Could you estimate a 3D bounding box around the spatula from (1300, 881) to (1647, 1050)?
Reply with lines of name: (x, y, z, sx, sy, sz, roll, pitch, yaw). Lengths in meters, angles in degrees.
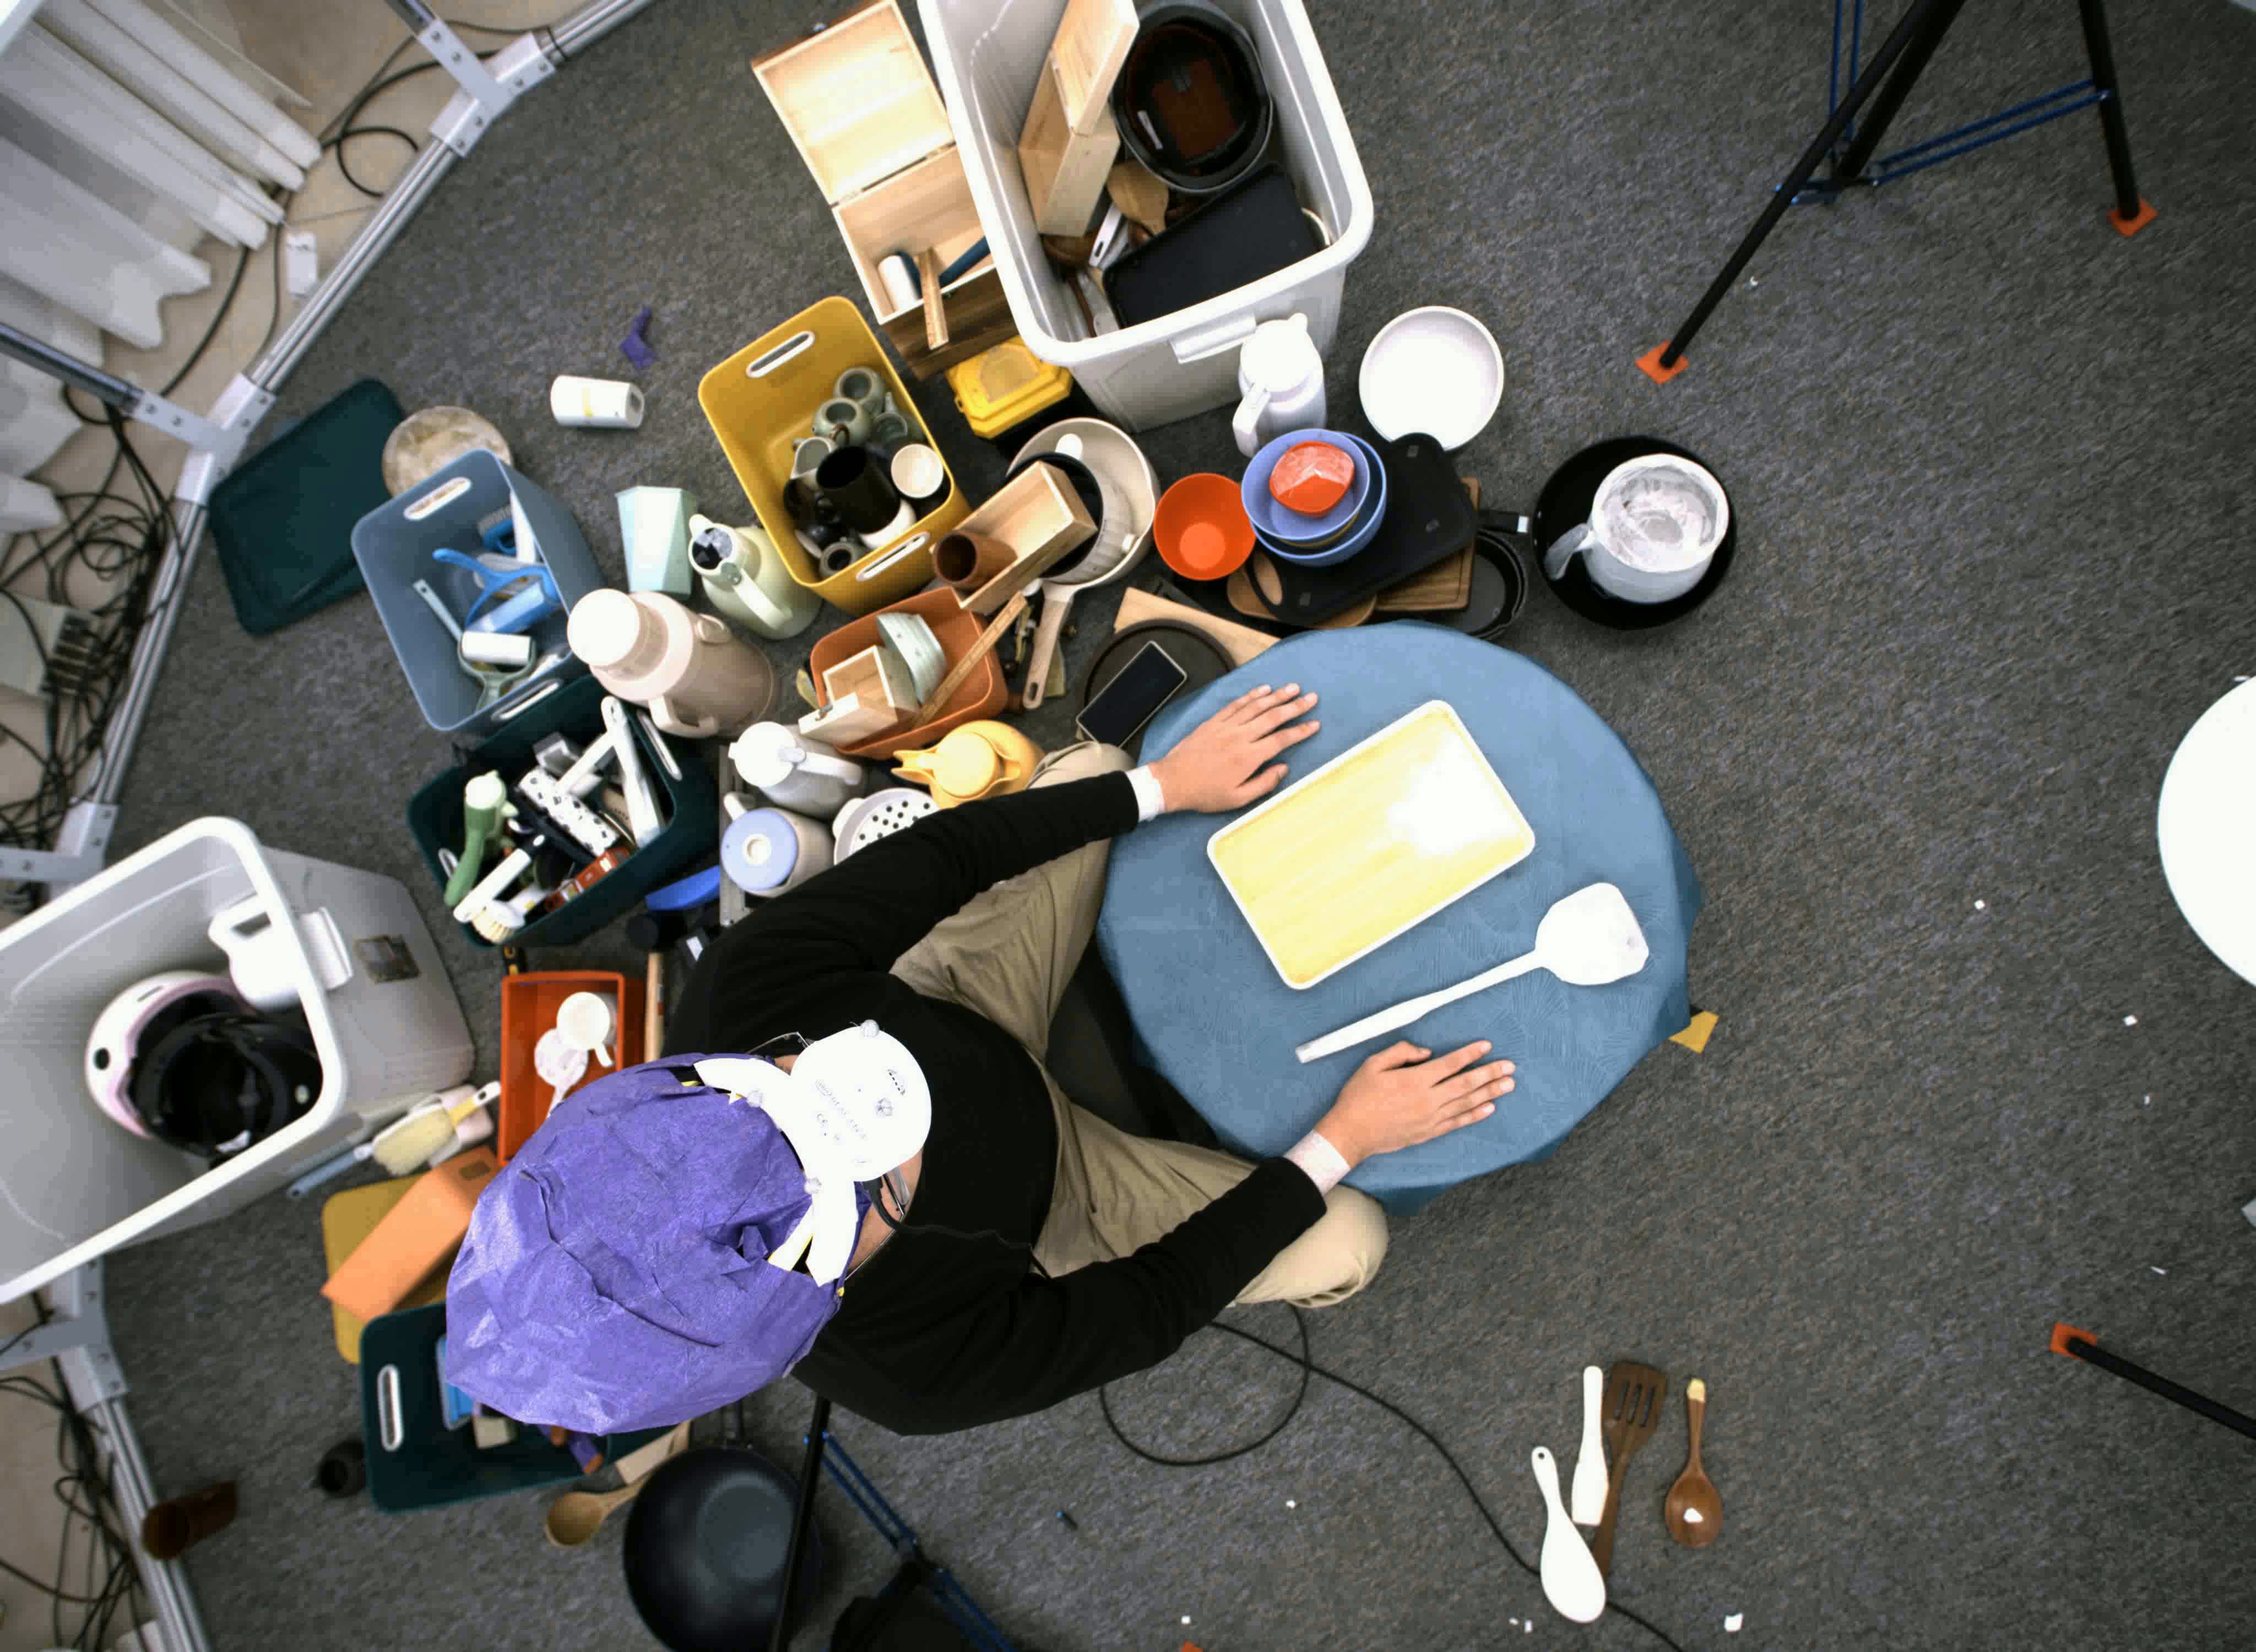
spatula: (0.349, 0.162, 1.421, 0.367, 0.045, 0.098, -23, 83, 8)

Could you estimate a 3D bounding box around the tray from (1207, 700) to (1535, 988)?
tray: (0.253, 0.019, 1.453, 0.302, 0.027, 0.190, -32, 82, 7)
